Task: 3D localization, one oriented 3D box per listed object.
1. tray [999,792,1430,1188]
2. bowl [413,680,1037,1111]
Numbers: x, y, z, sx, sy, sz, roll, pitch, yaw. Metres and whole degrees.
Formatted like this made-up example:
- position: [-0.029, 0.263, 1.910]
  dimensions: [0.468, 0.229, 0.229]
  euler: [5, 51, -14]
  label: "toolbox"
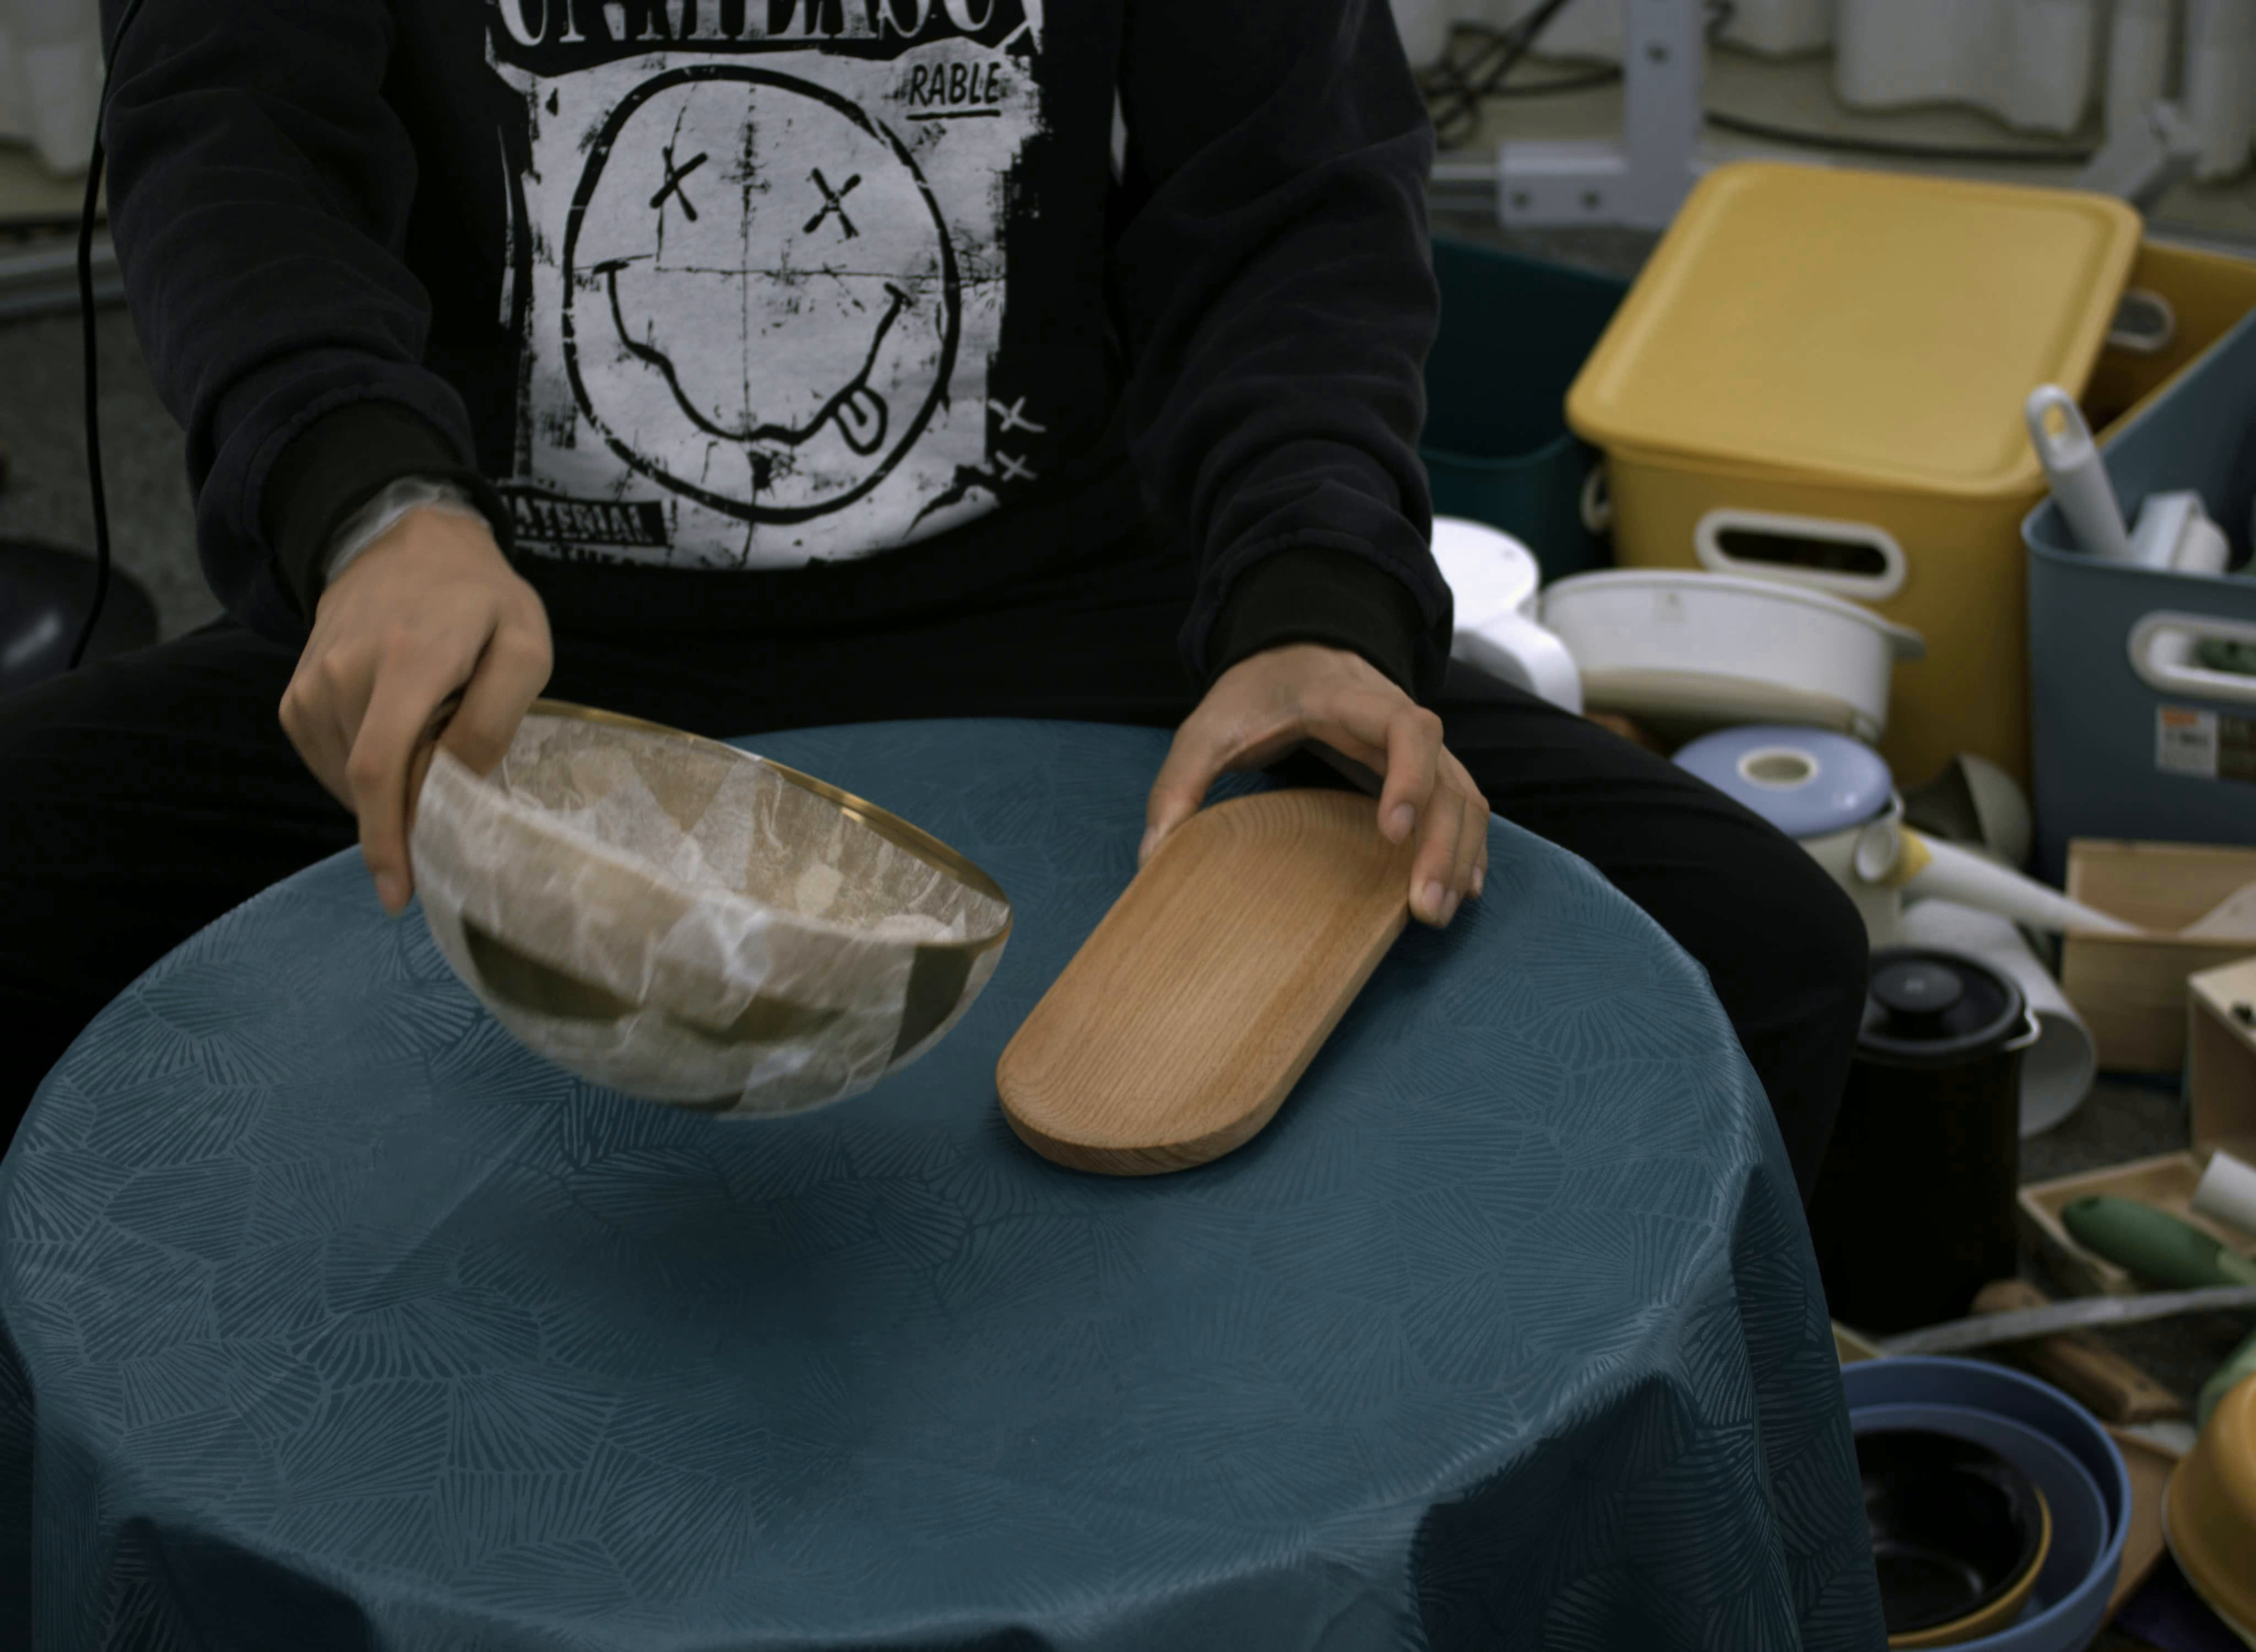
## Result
- position: [0.032, 0.055, 1.952]
  dimensions: [0.101, 0.020, 0.235]
  euler: [6, 35, 23]
  label: "tray"
- position: [-0.140, 0.035, 1.806]
  dimensions: [0.214, 0.094, 0.216]
  euler: [19, 10, -3]
  label: "bowl"
